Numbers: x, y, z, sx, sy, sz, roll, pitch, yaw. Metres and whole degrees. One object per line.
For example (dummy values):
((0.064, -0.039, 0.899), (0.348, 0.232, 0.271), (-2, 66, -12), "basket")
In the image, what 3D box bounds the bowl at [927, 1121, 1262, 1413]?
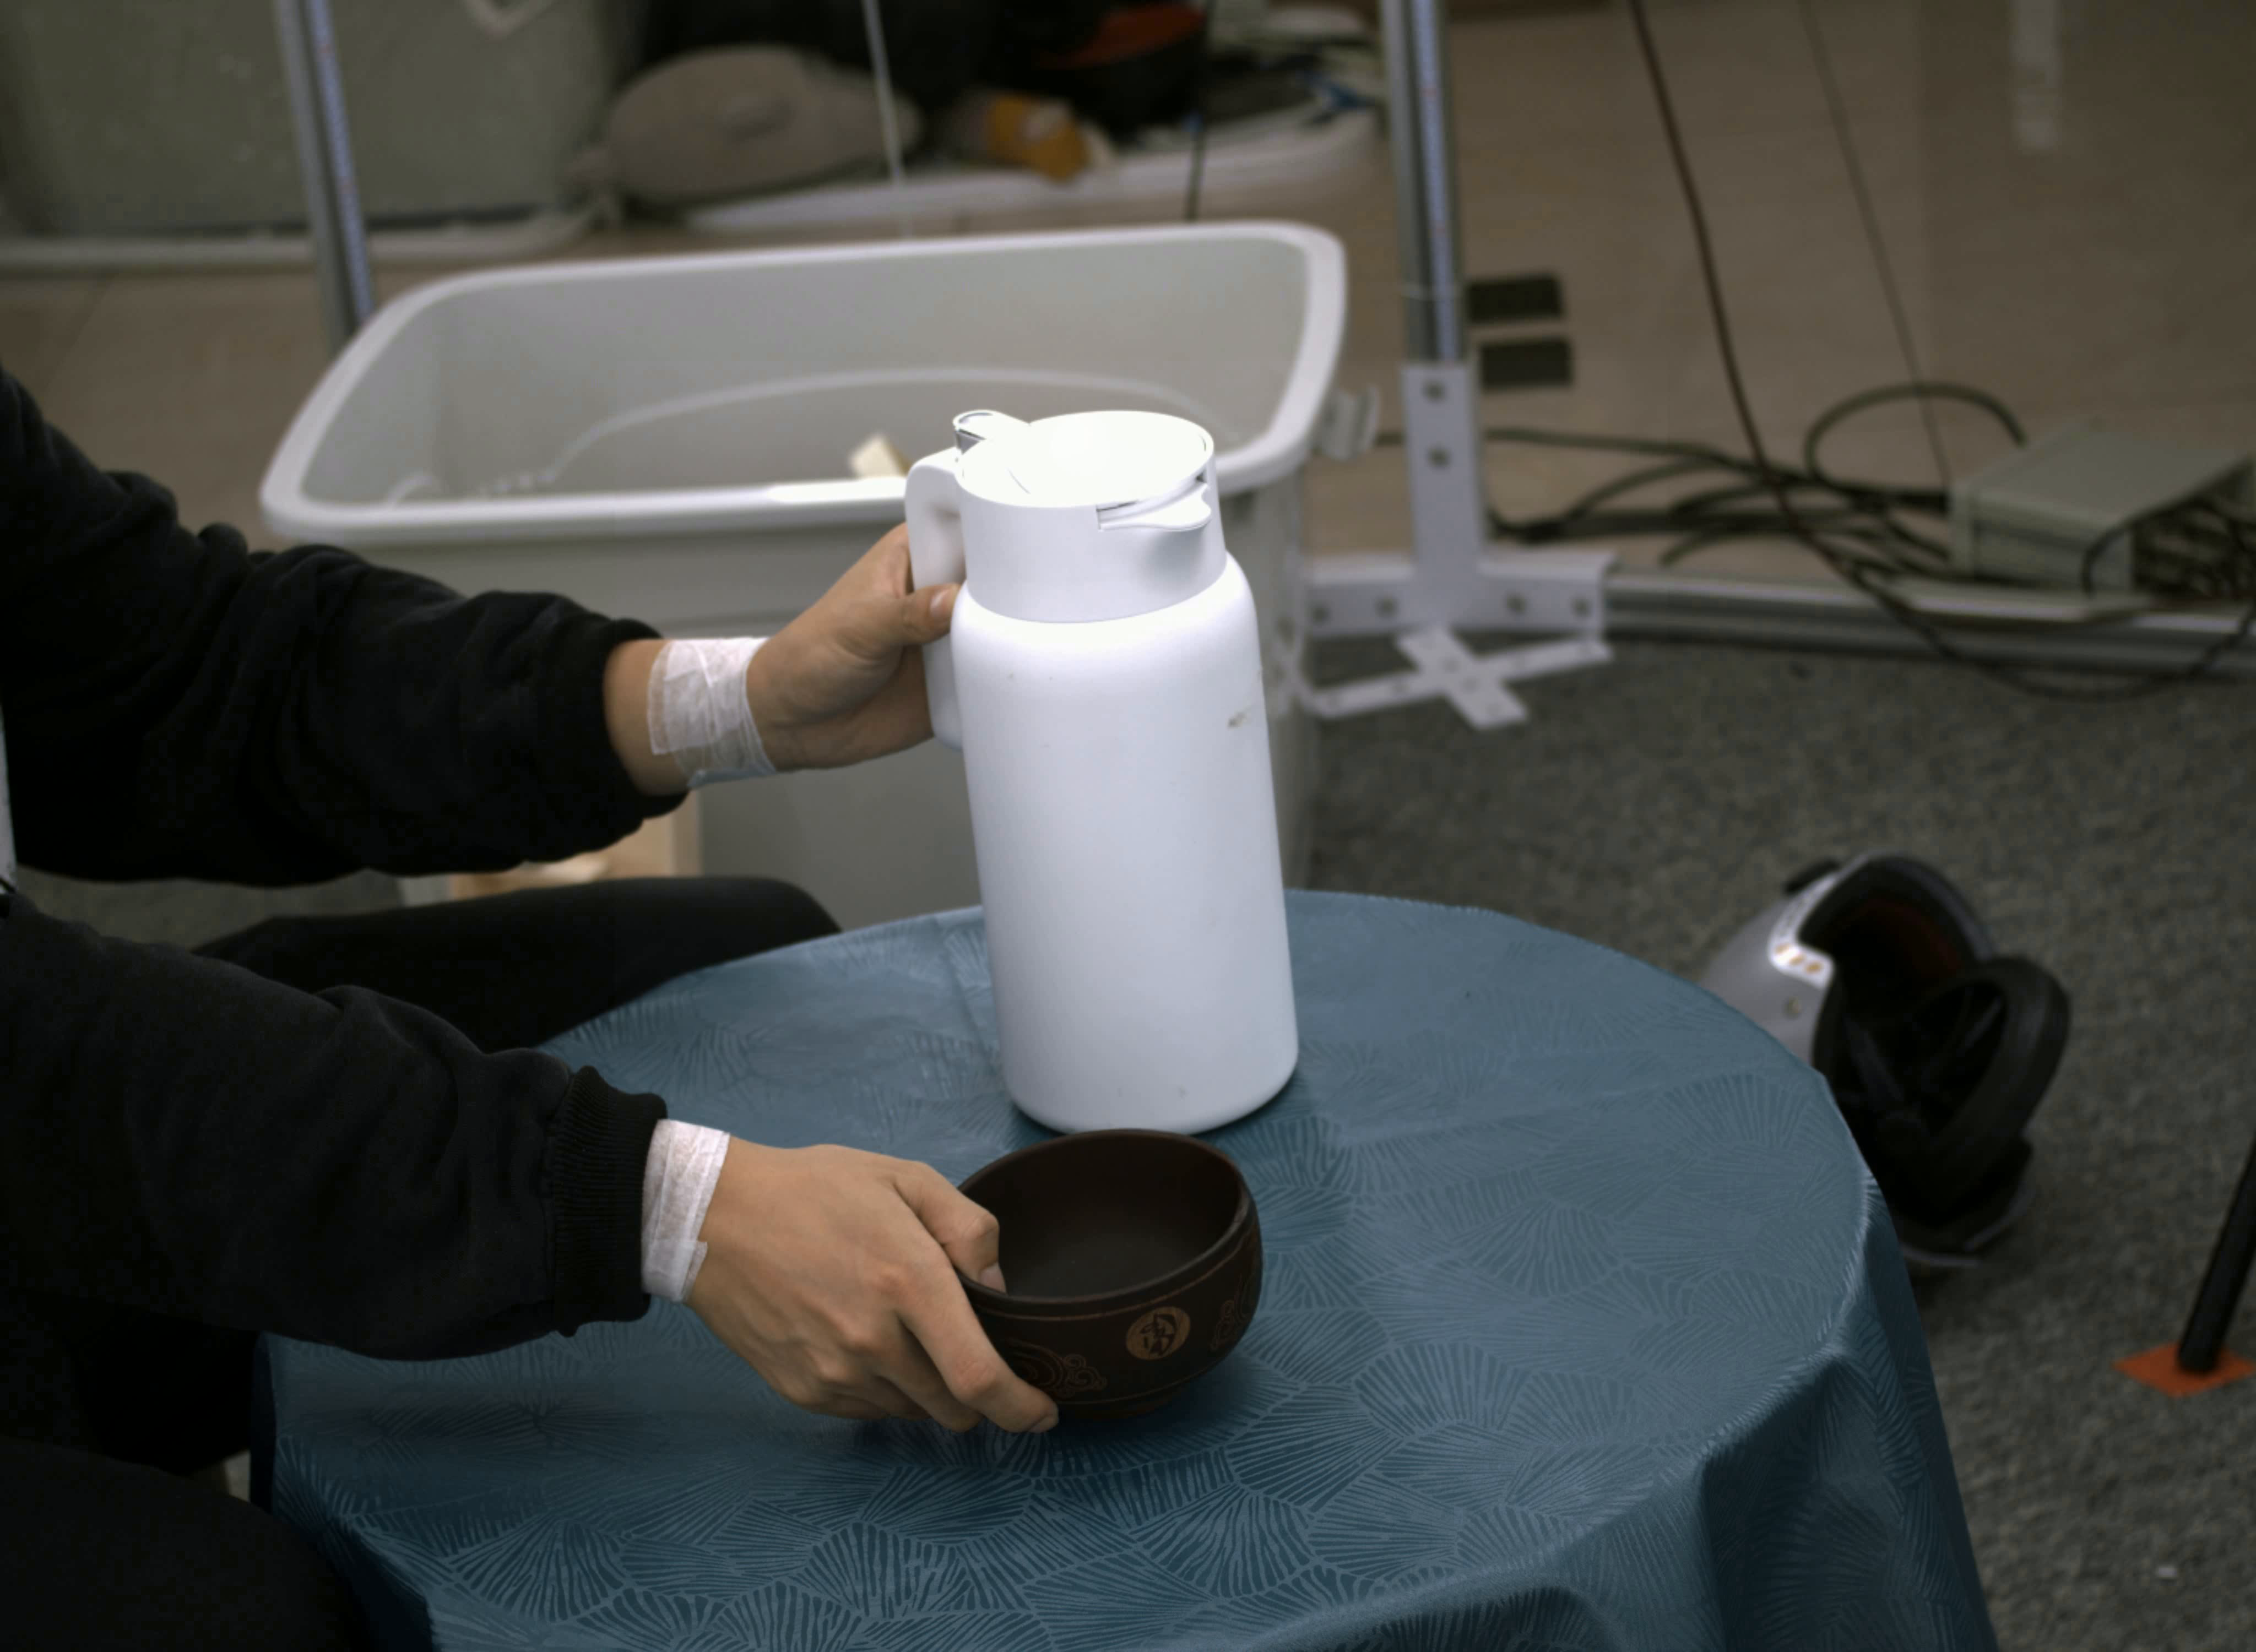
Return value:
((-0.009, 0.163, 2.007), (0.118, 0.071, 0.116), (-7, 28, 4), "bowl")

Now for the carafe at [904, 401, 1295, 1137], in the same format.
((-0.016, -0.023, 2.181), (0.123, 0.273, 0.171), (-27, 33, -33), "carafe")
